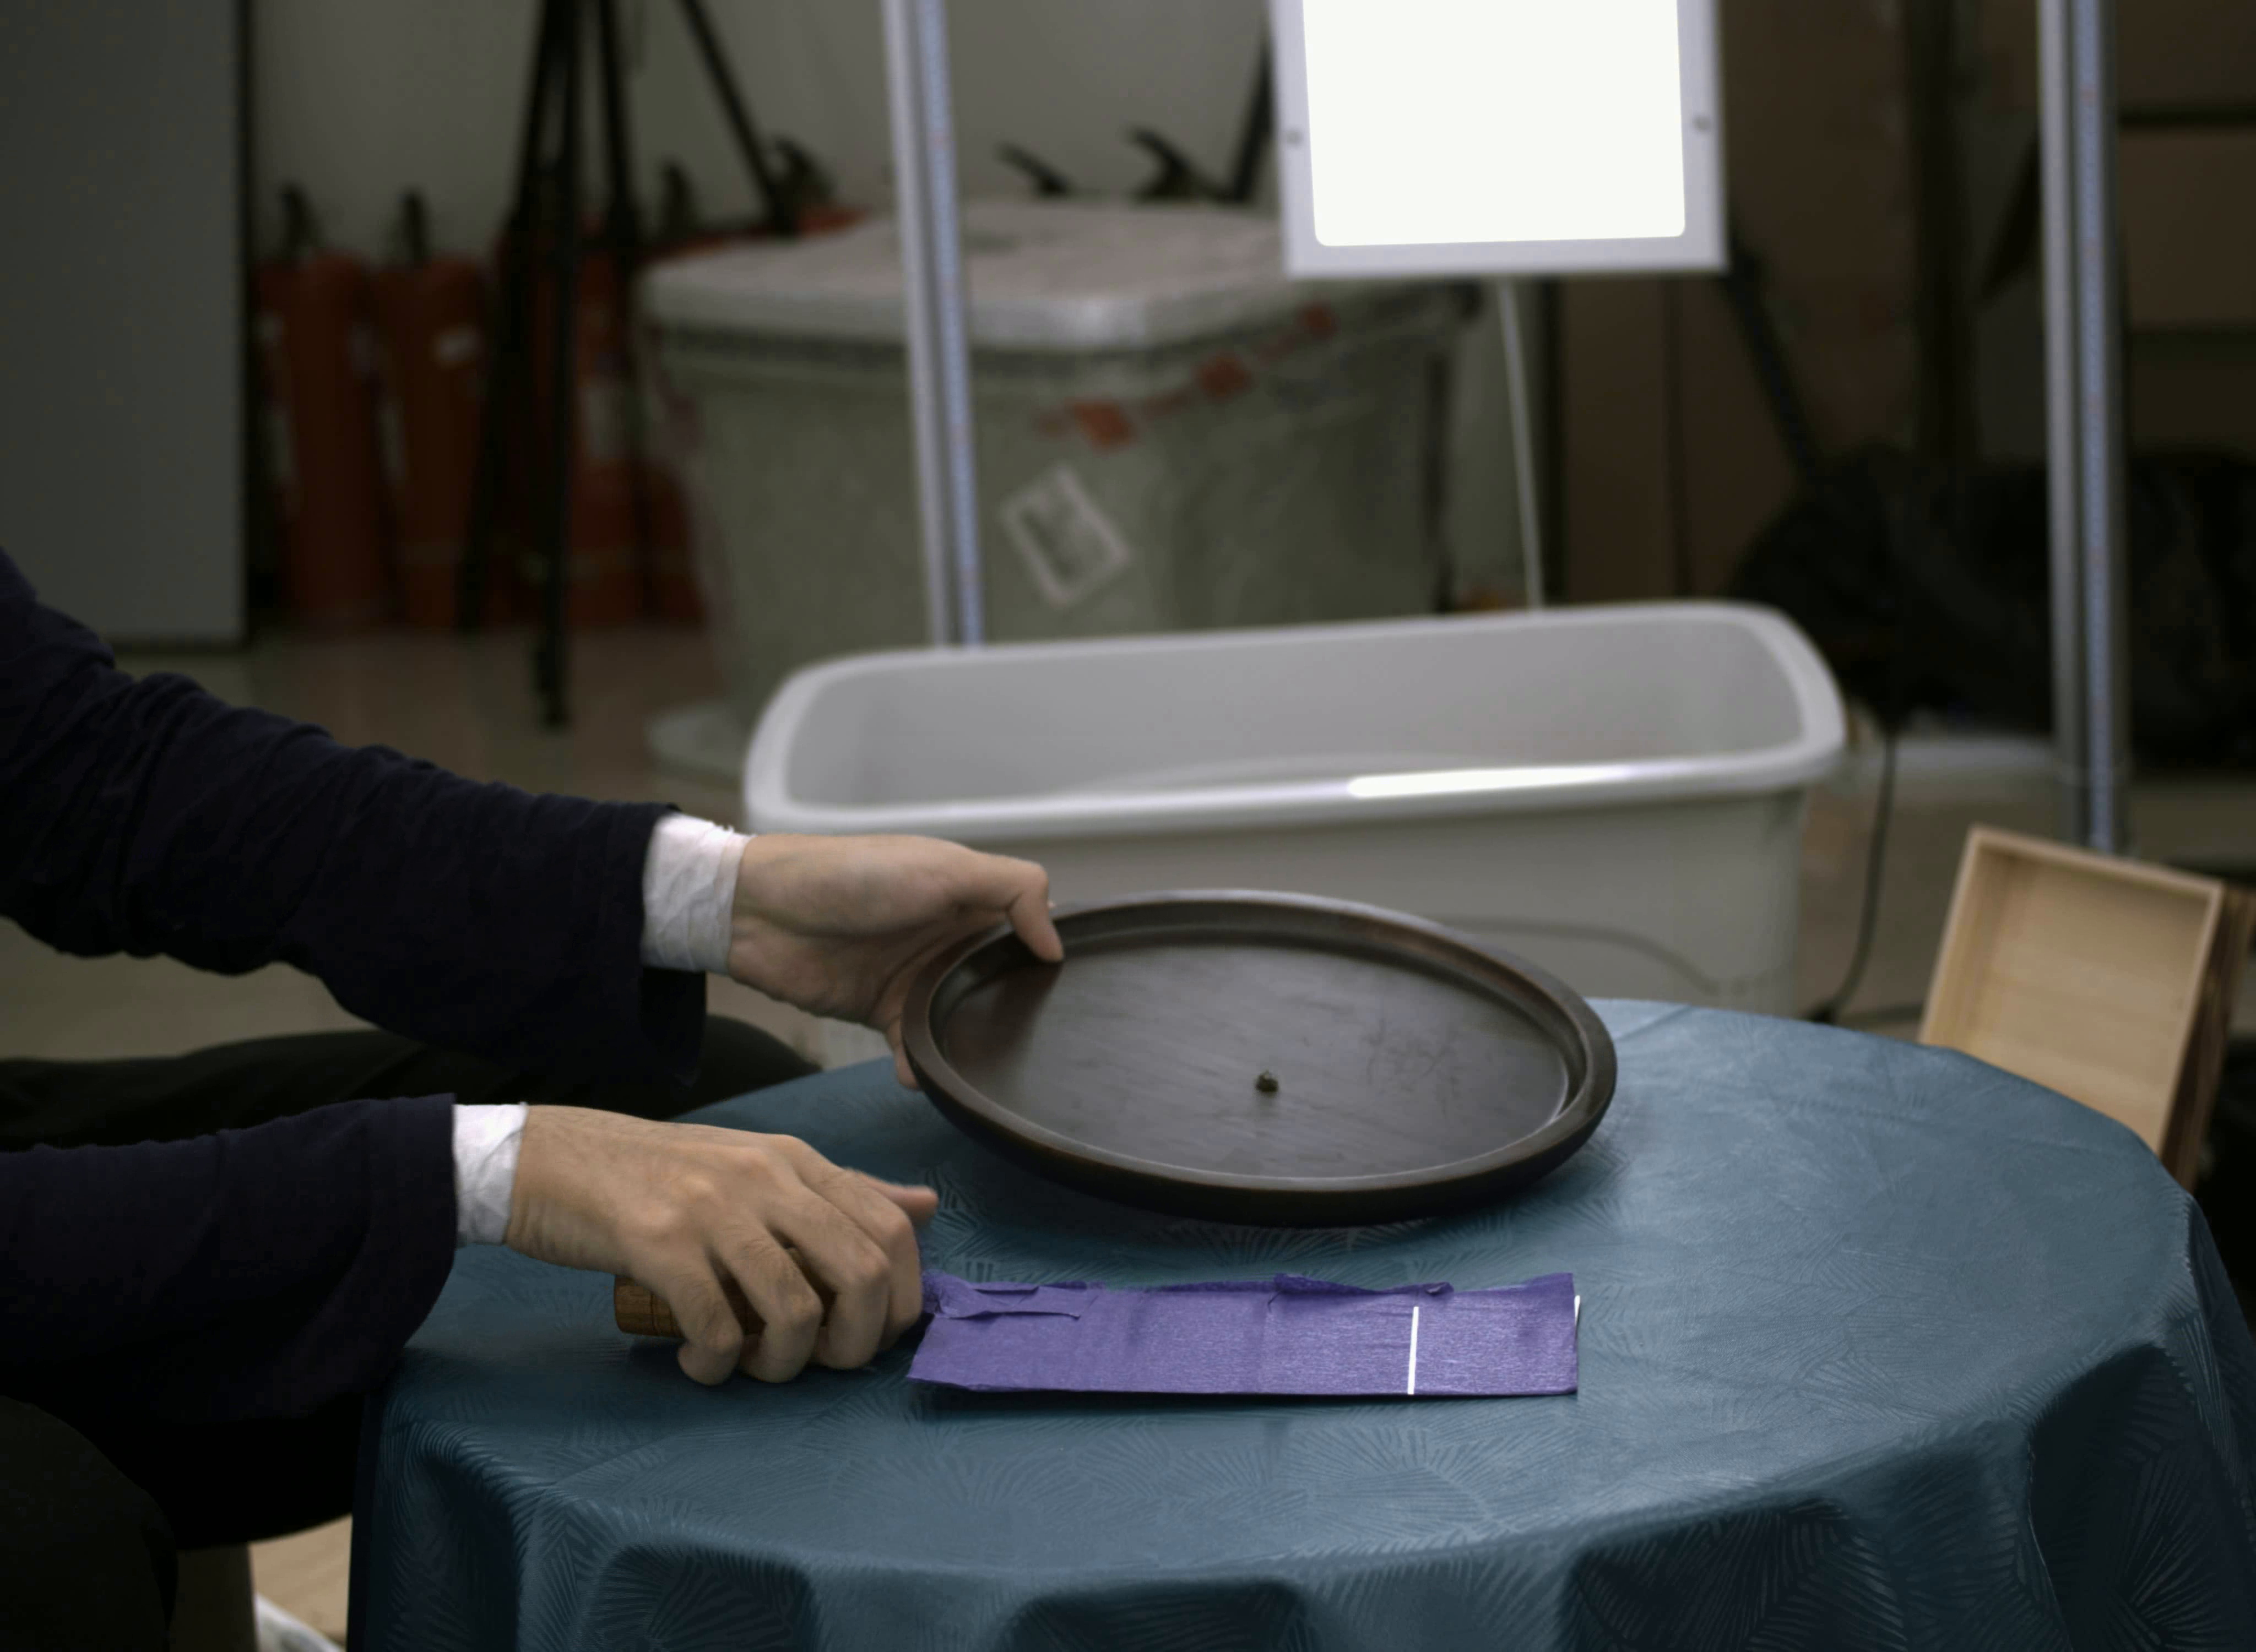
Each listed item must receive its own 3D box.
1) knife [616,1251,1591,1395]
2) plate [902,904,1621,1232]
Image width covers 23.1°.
[{"bbox_3d":[-0.012,0.156,1.731,0.317,0.032,0.103,-2,14,9],"label":"knife"},{"bbox_3d":[0.046,0.082,1.930,0.253,0.029,0.254,3,22,-2],"label":"plate"}]
